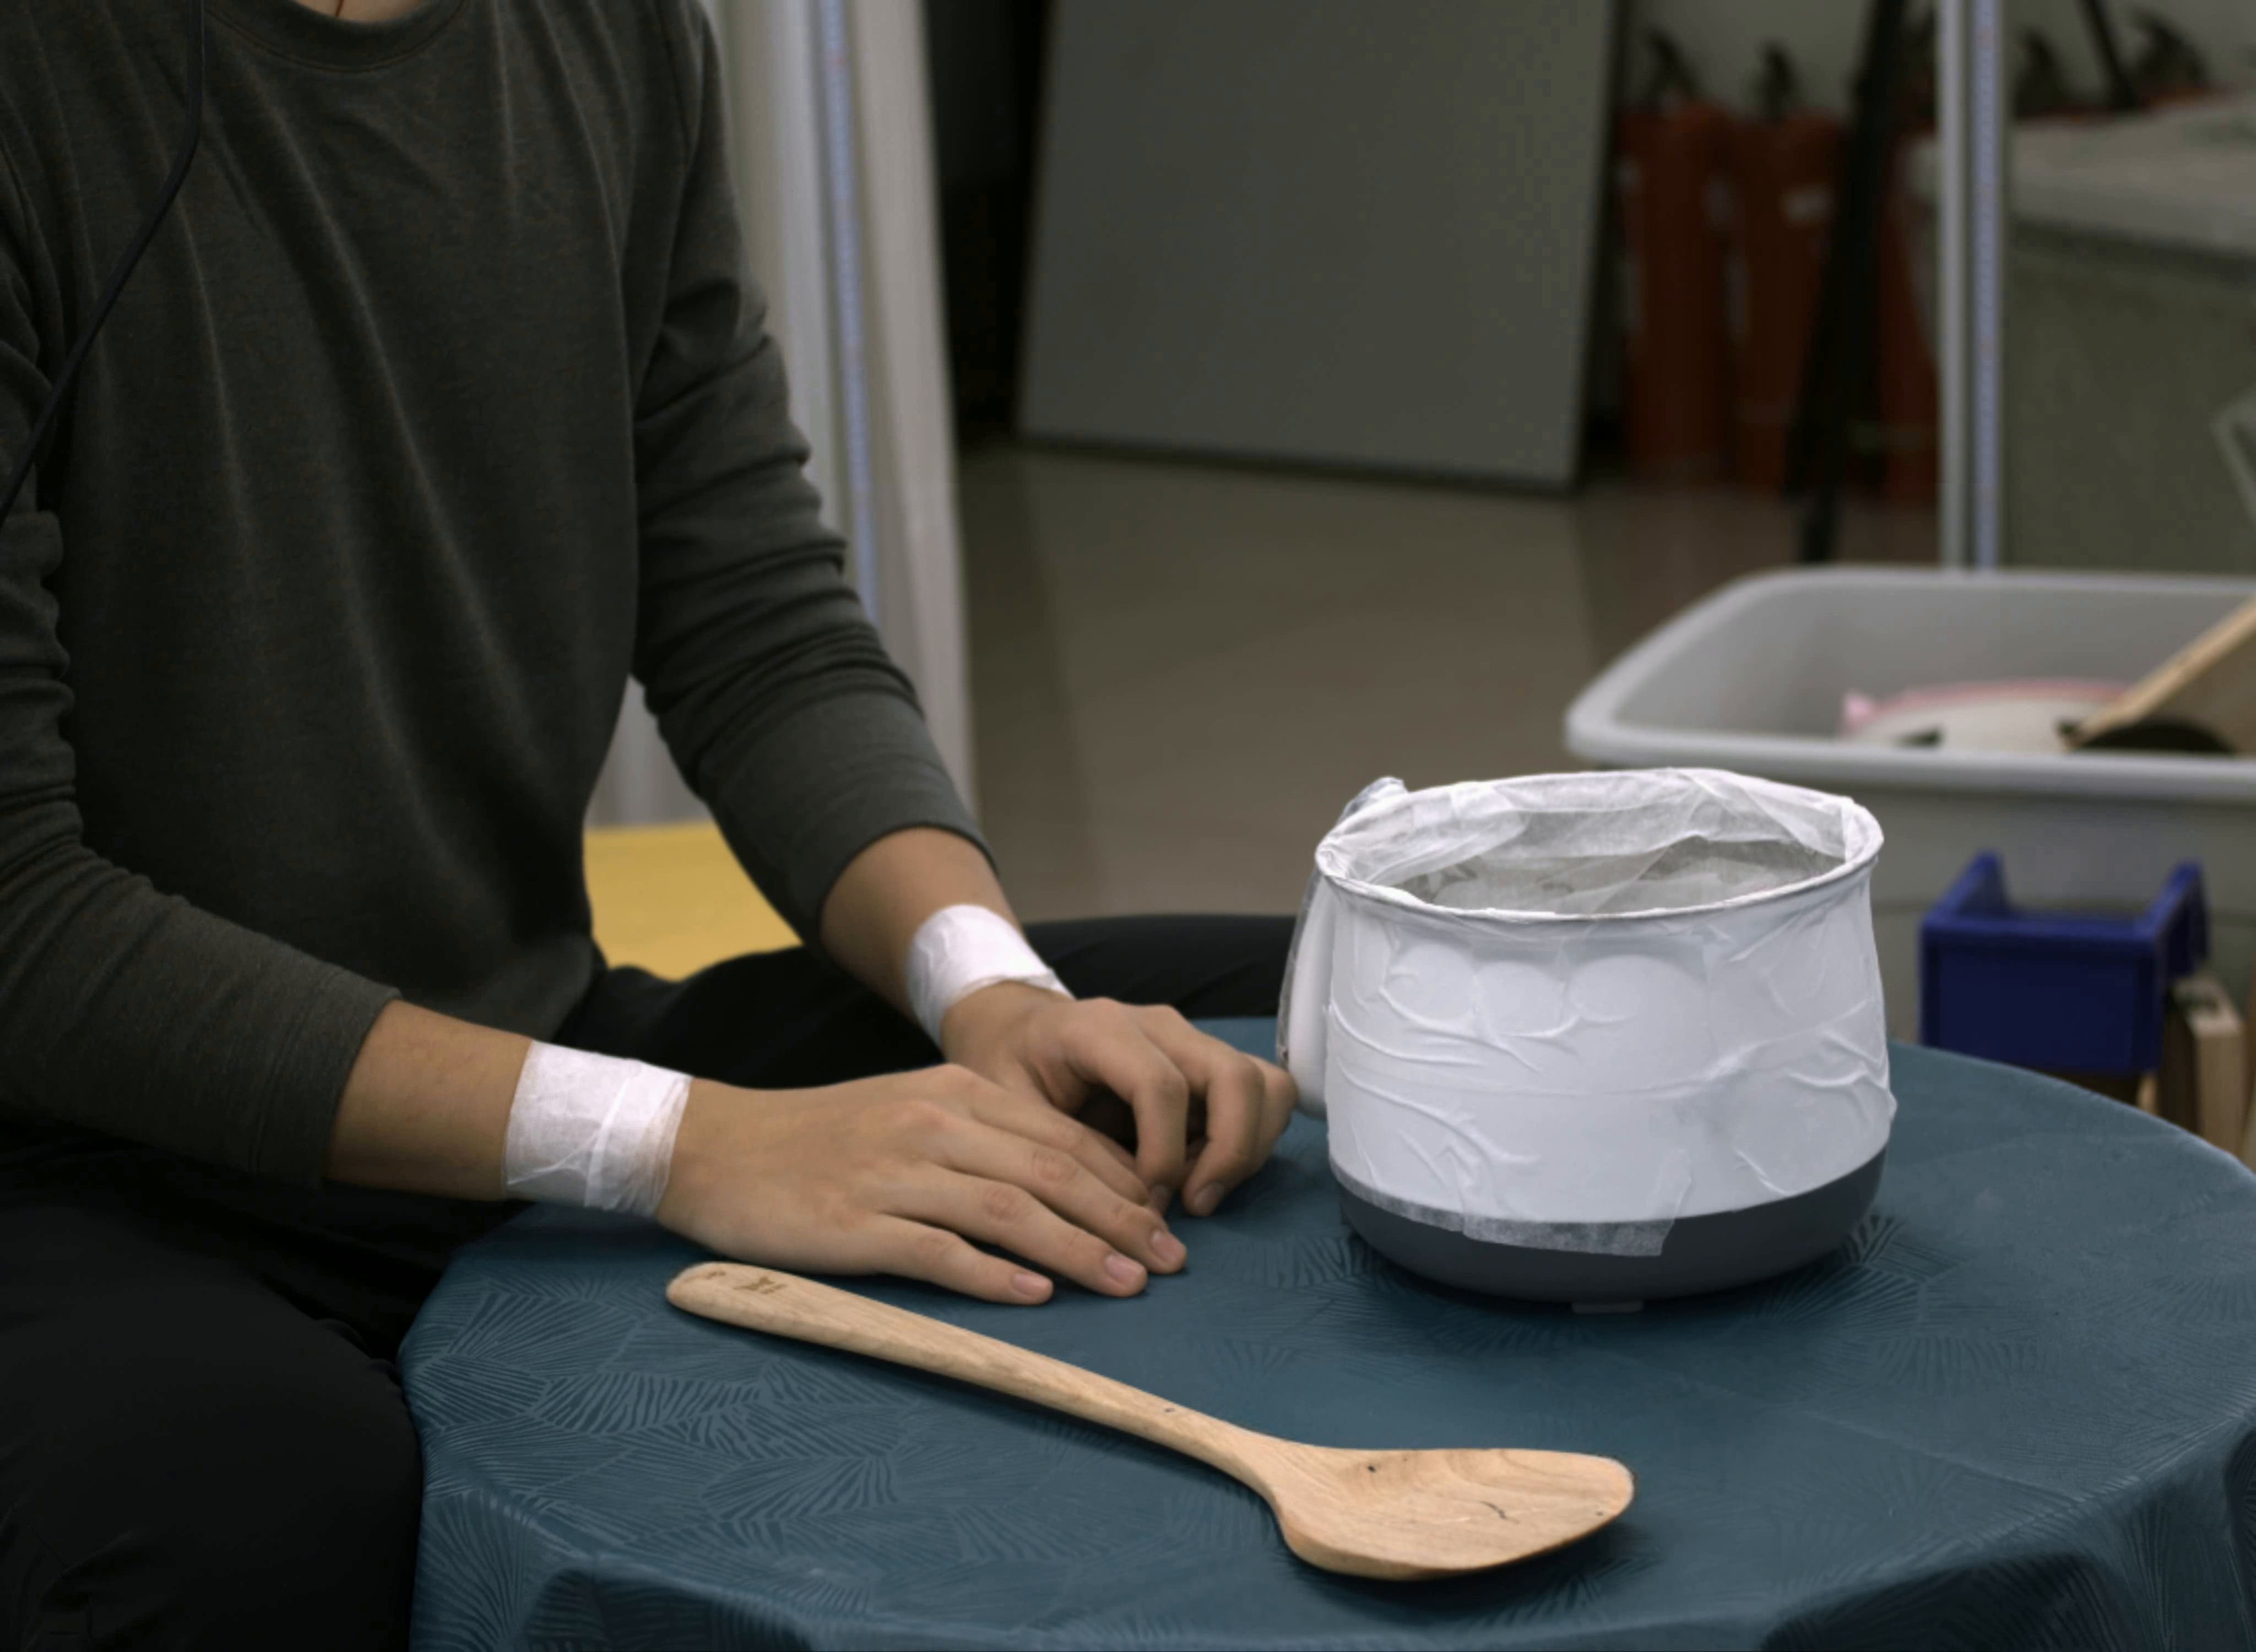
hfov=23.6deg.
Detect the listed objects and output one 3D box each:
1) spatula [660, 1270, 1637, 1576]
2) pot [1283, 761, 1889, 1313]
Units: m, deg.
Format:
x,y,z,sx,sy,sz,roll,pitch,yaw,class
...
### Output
x,y,z,sx,sy,sz,roll,pitch,yaw,class
-0.015,0.166,1.555,0.094,0.018,0.394,-13,16,-40,spatula
0.131,0.060,1.697,0.175,0.138,0.236,-14,16,-37,pot
